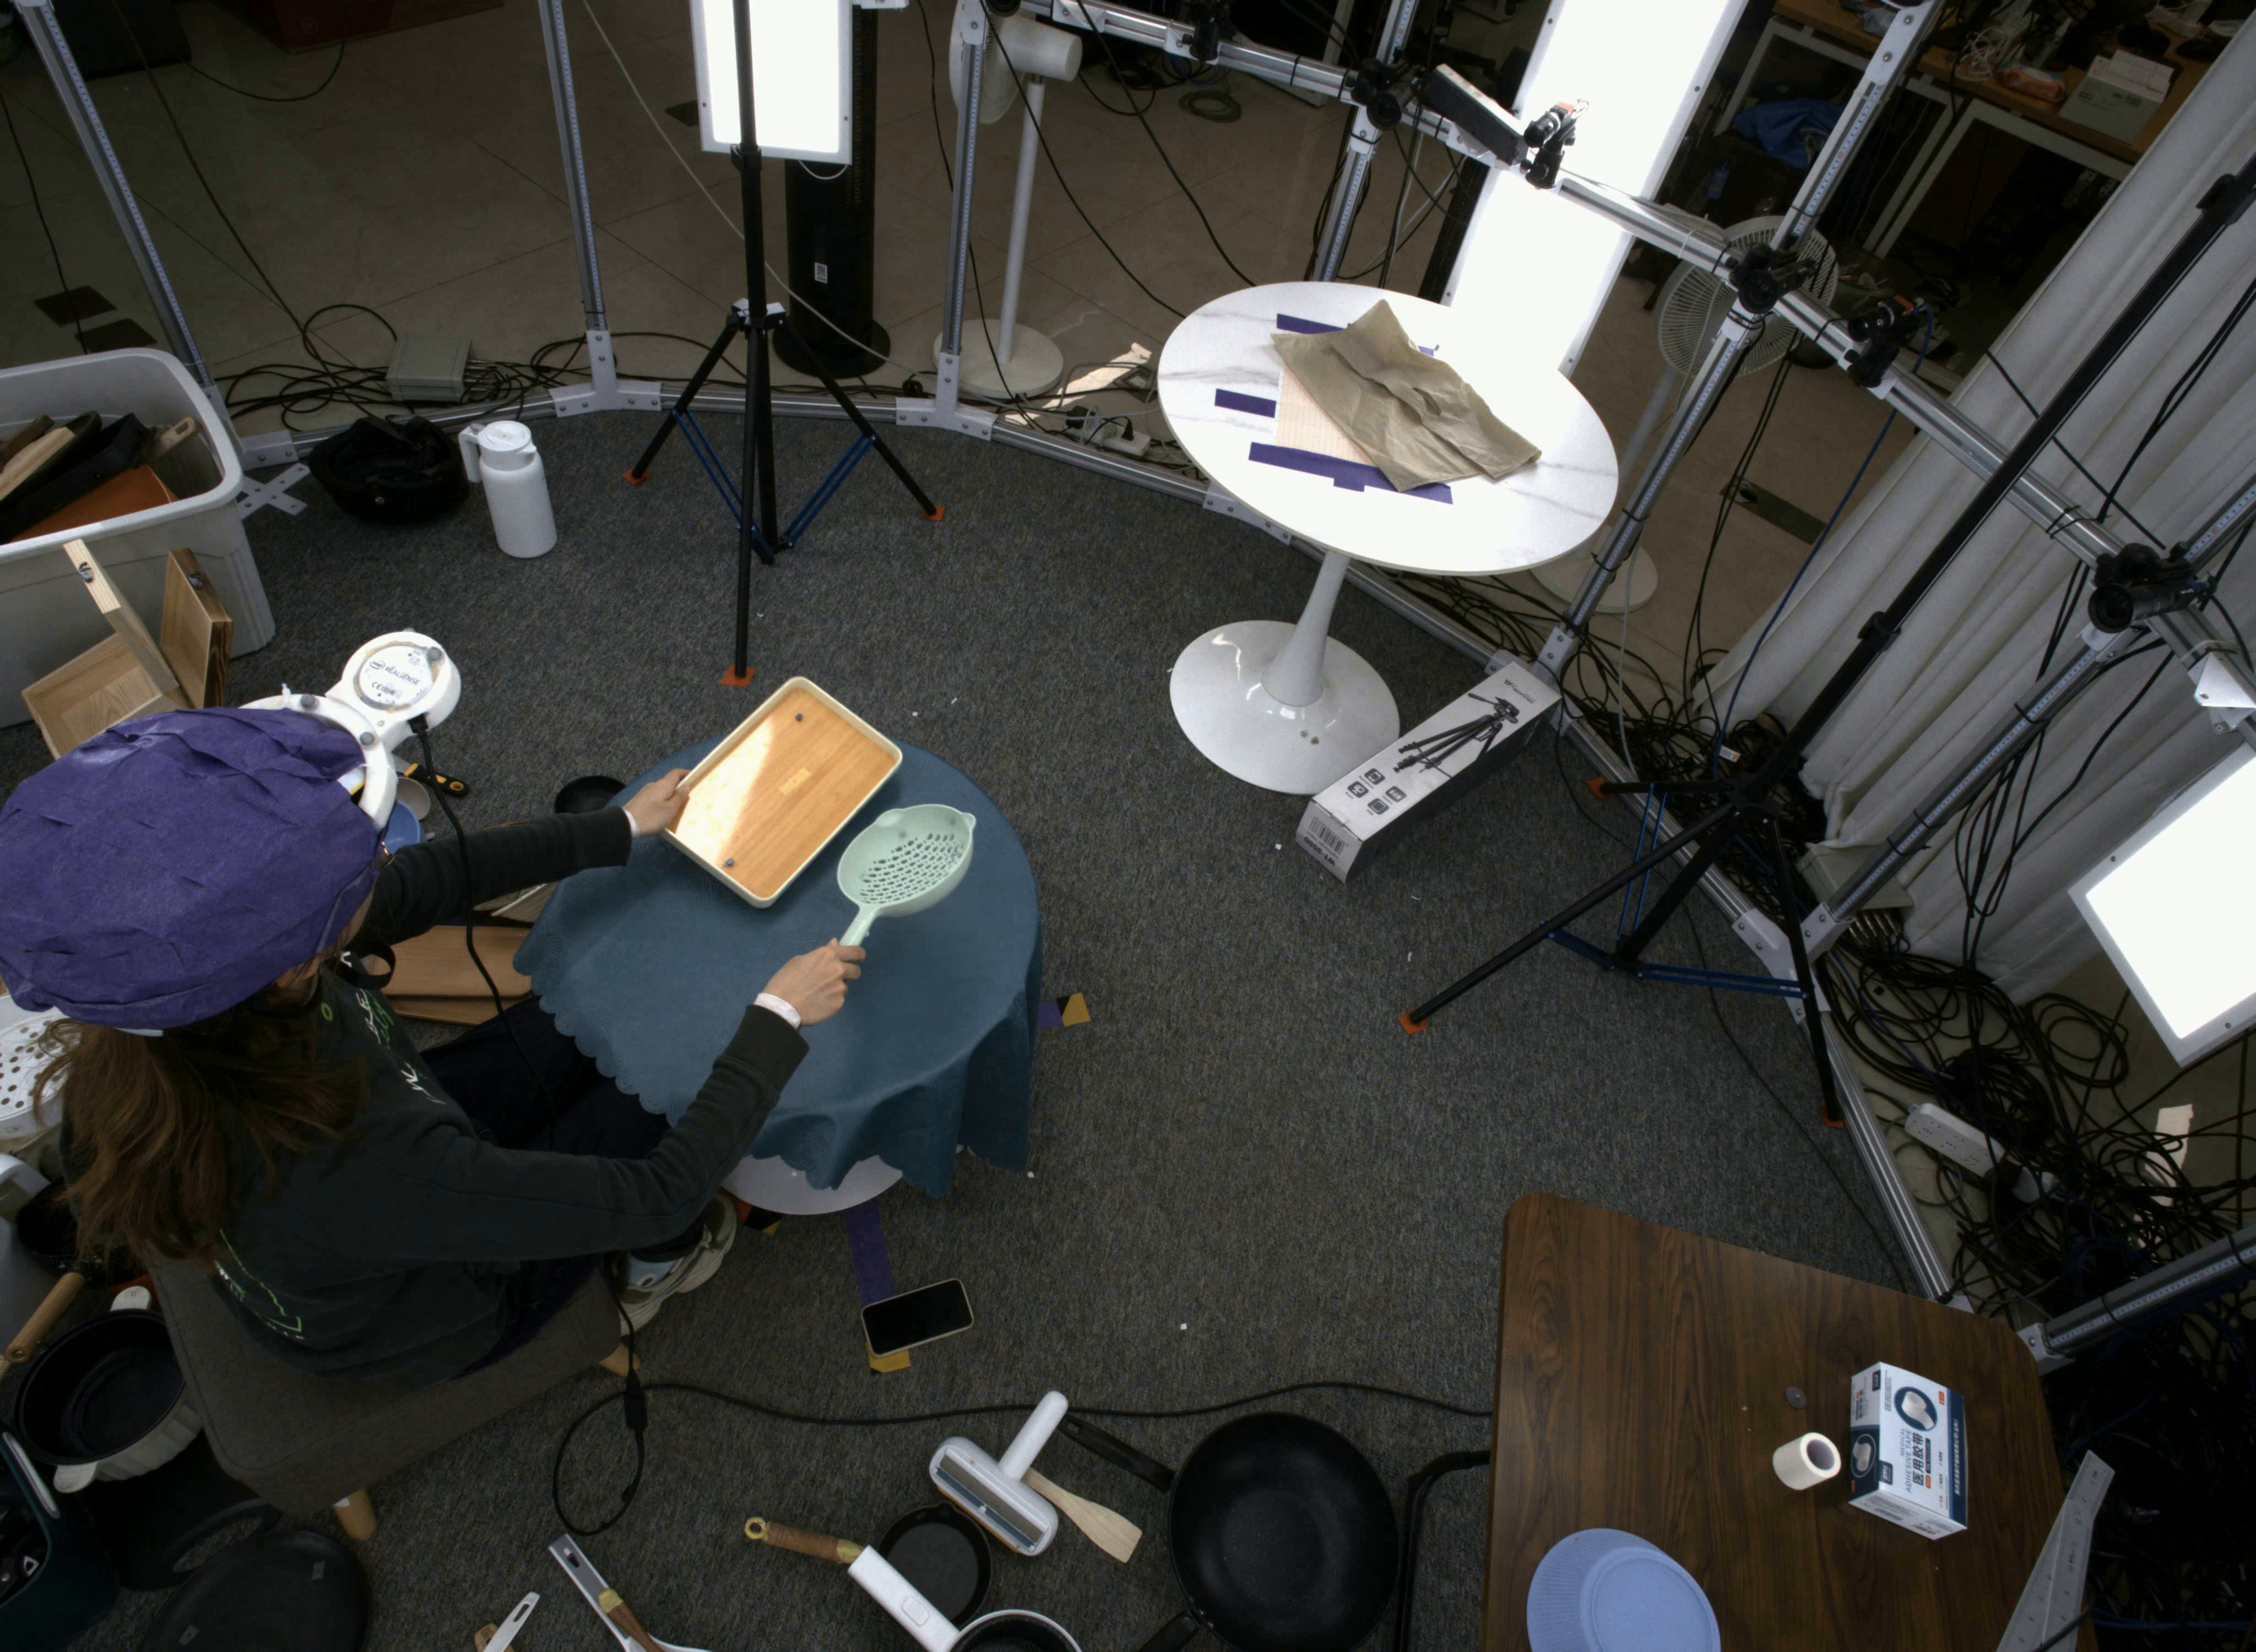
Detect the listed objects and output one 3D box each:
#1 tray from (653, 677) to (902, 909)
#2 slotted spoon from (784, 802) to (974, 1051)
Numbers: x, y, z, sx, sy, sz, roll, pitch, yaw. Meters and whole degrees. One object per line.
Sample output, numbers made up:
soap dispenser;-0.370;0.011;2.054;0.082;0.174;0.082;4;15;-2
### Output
tray;-0.455;-0.050;1.696;0.191;0.027;0.299;38;55;-2
slotted spoon;-0.298;0.104;1.486;0.164;0.078;0.357;4;37;26
